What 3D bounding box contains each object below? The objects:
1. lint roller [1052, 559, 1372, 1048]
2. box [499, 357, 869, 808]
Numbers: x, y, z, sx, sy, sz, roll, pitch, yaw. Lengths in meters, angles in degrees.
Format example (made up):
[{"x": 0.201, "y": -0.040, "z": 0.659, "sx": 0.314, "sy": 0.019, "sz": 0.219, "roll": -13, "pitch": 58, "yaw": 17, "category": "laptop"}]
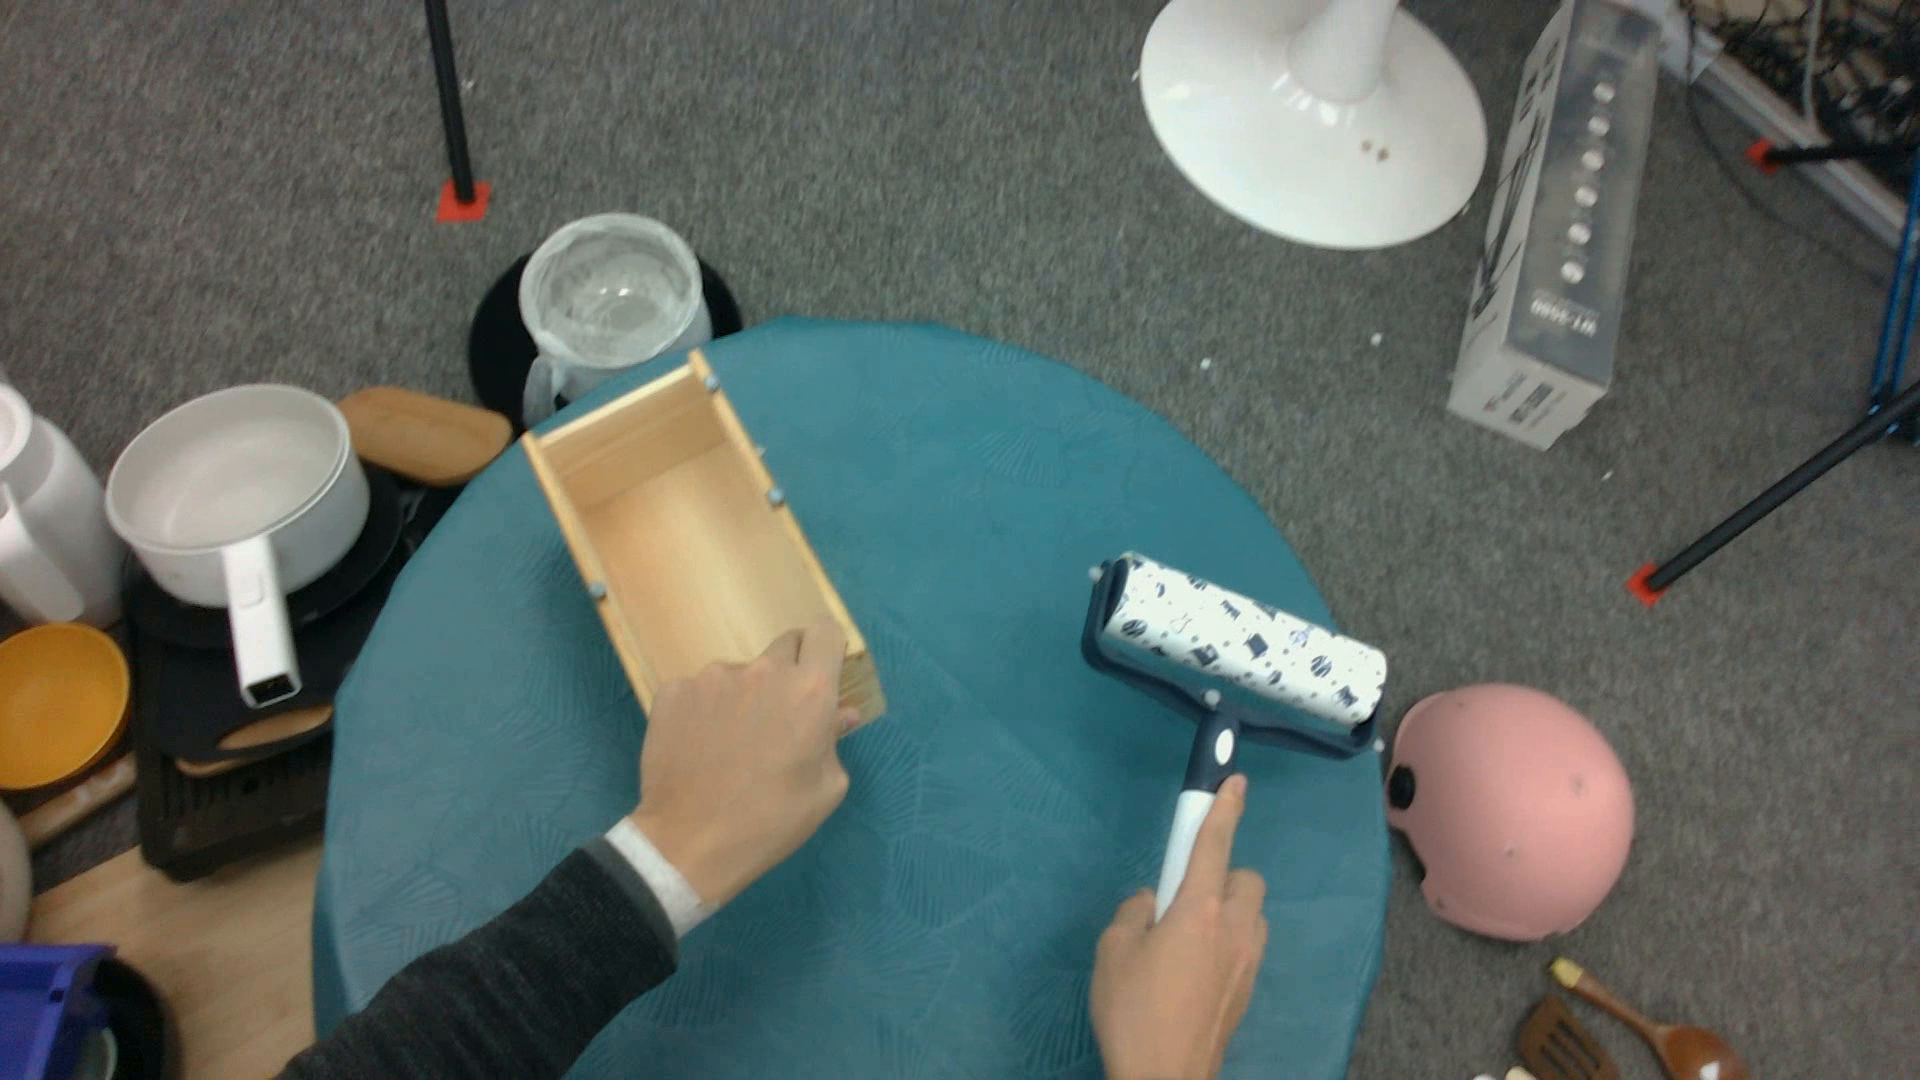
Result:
[{"x": 0.107, "y": 0.146, "z": 0.720, "sx": 0.176, "sy": 0.050, "sz": 0.248, "roll": 29, "pitch": 60, "yaw": -2, "category": "lint roller"}, {"x": -0.148, "y": 0.019, "z": 0.733, "sx": 0.108, "sy": 0.080, "sz": 0.212, "roll": -29, "pitch": 62, "yaw": -12, "category": "box"}]
